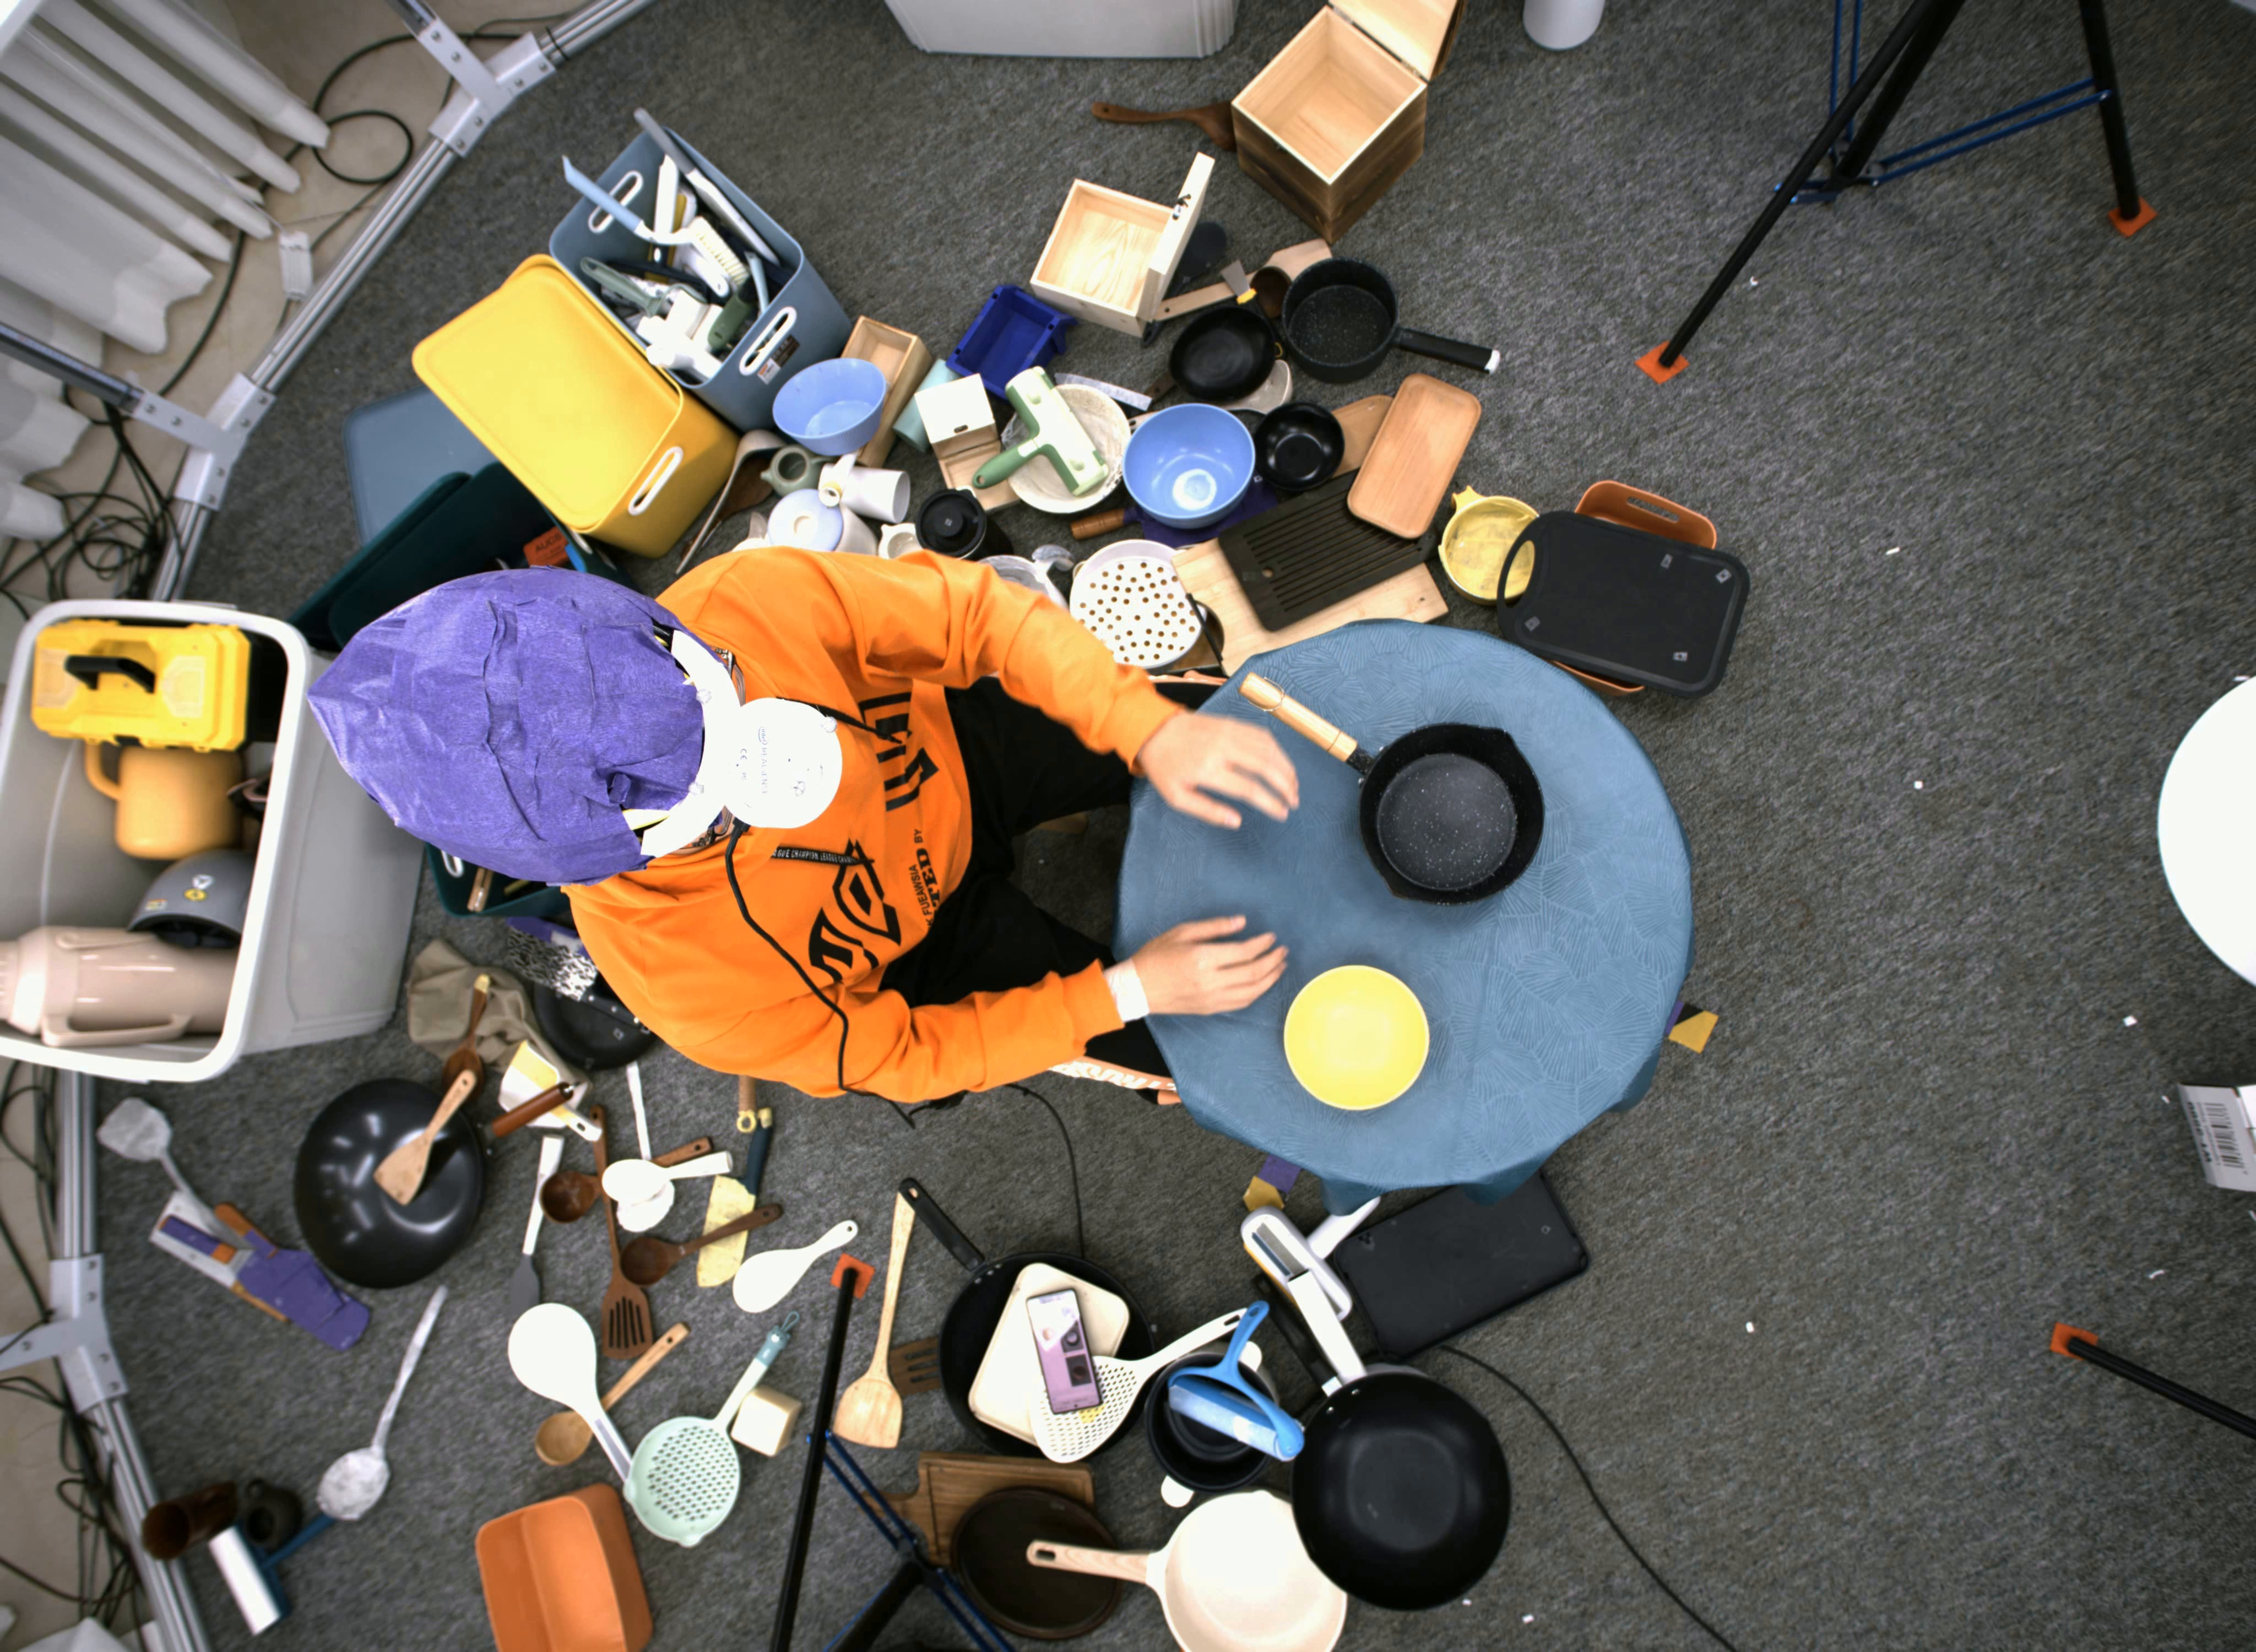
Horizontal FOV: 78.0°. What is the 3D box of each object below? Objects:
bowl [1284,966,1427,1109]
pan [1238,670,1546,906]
[{"bbox_3d":[0.234,0.216,1.429,0.146,0.060,0.144,-1,85,10],"label":"bowl"},{"bbox_3d":[0.261,-0.053,1.414,0.342,0.108,0.208,33,94,9],"label":"pan"}]
